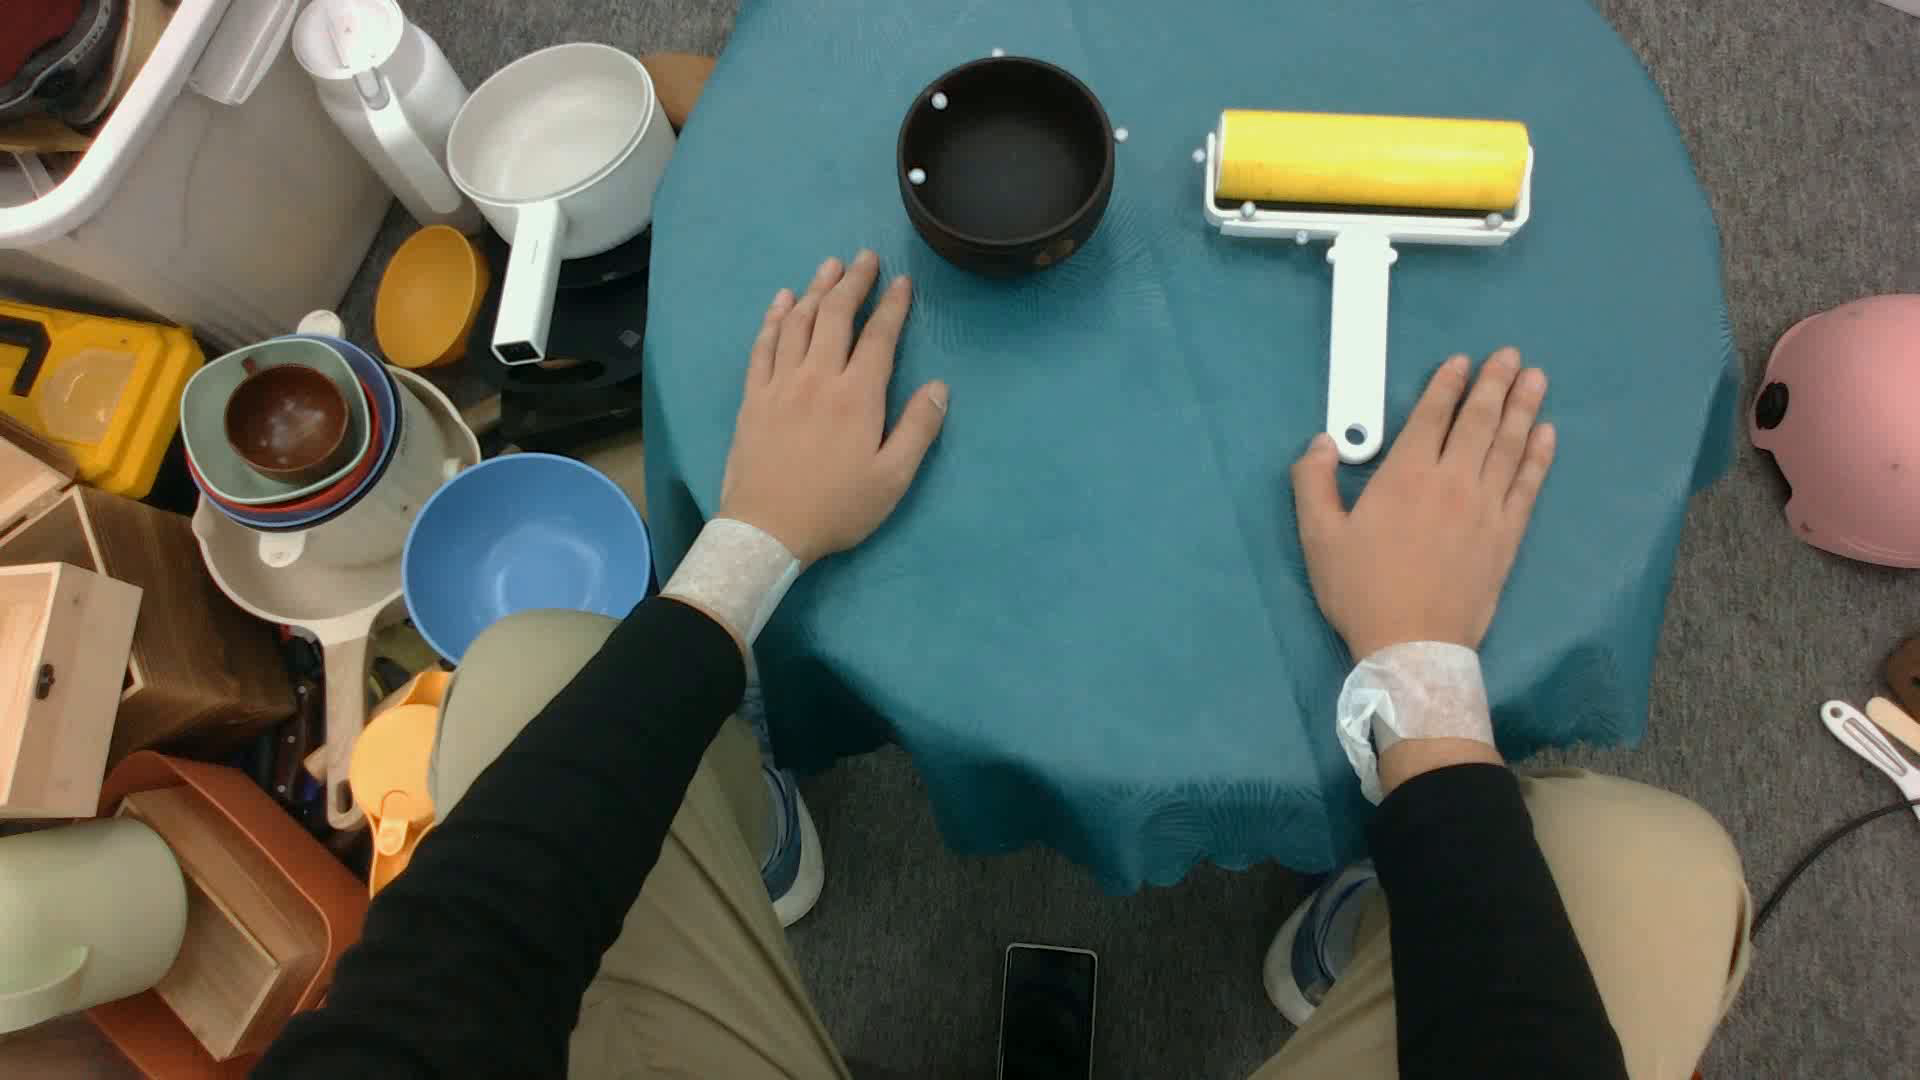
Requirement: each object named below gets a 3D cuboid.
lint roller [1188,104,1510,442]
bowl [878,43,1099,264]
[{"bbox_3d":[0.212,-0.150,0.743,0.174,0.051,0.192,2,69,3],"label":"lint roller"},{"bbox_3d":[0.016,-0.203,0.755,0.118,0.069,0.118,-1,72,3],"label":"bowl"}]
